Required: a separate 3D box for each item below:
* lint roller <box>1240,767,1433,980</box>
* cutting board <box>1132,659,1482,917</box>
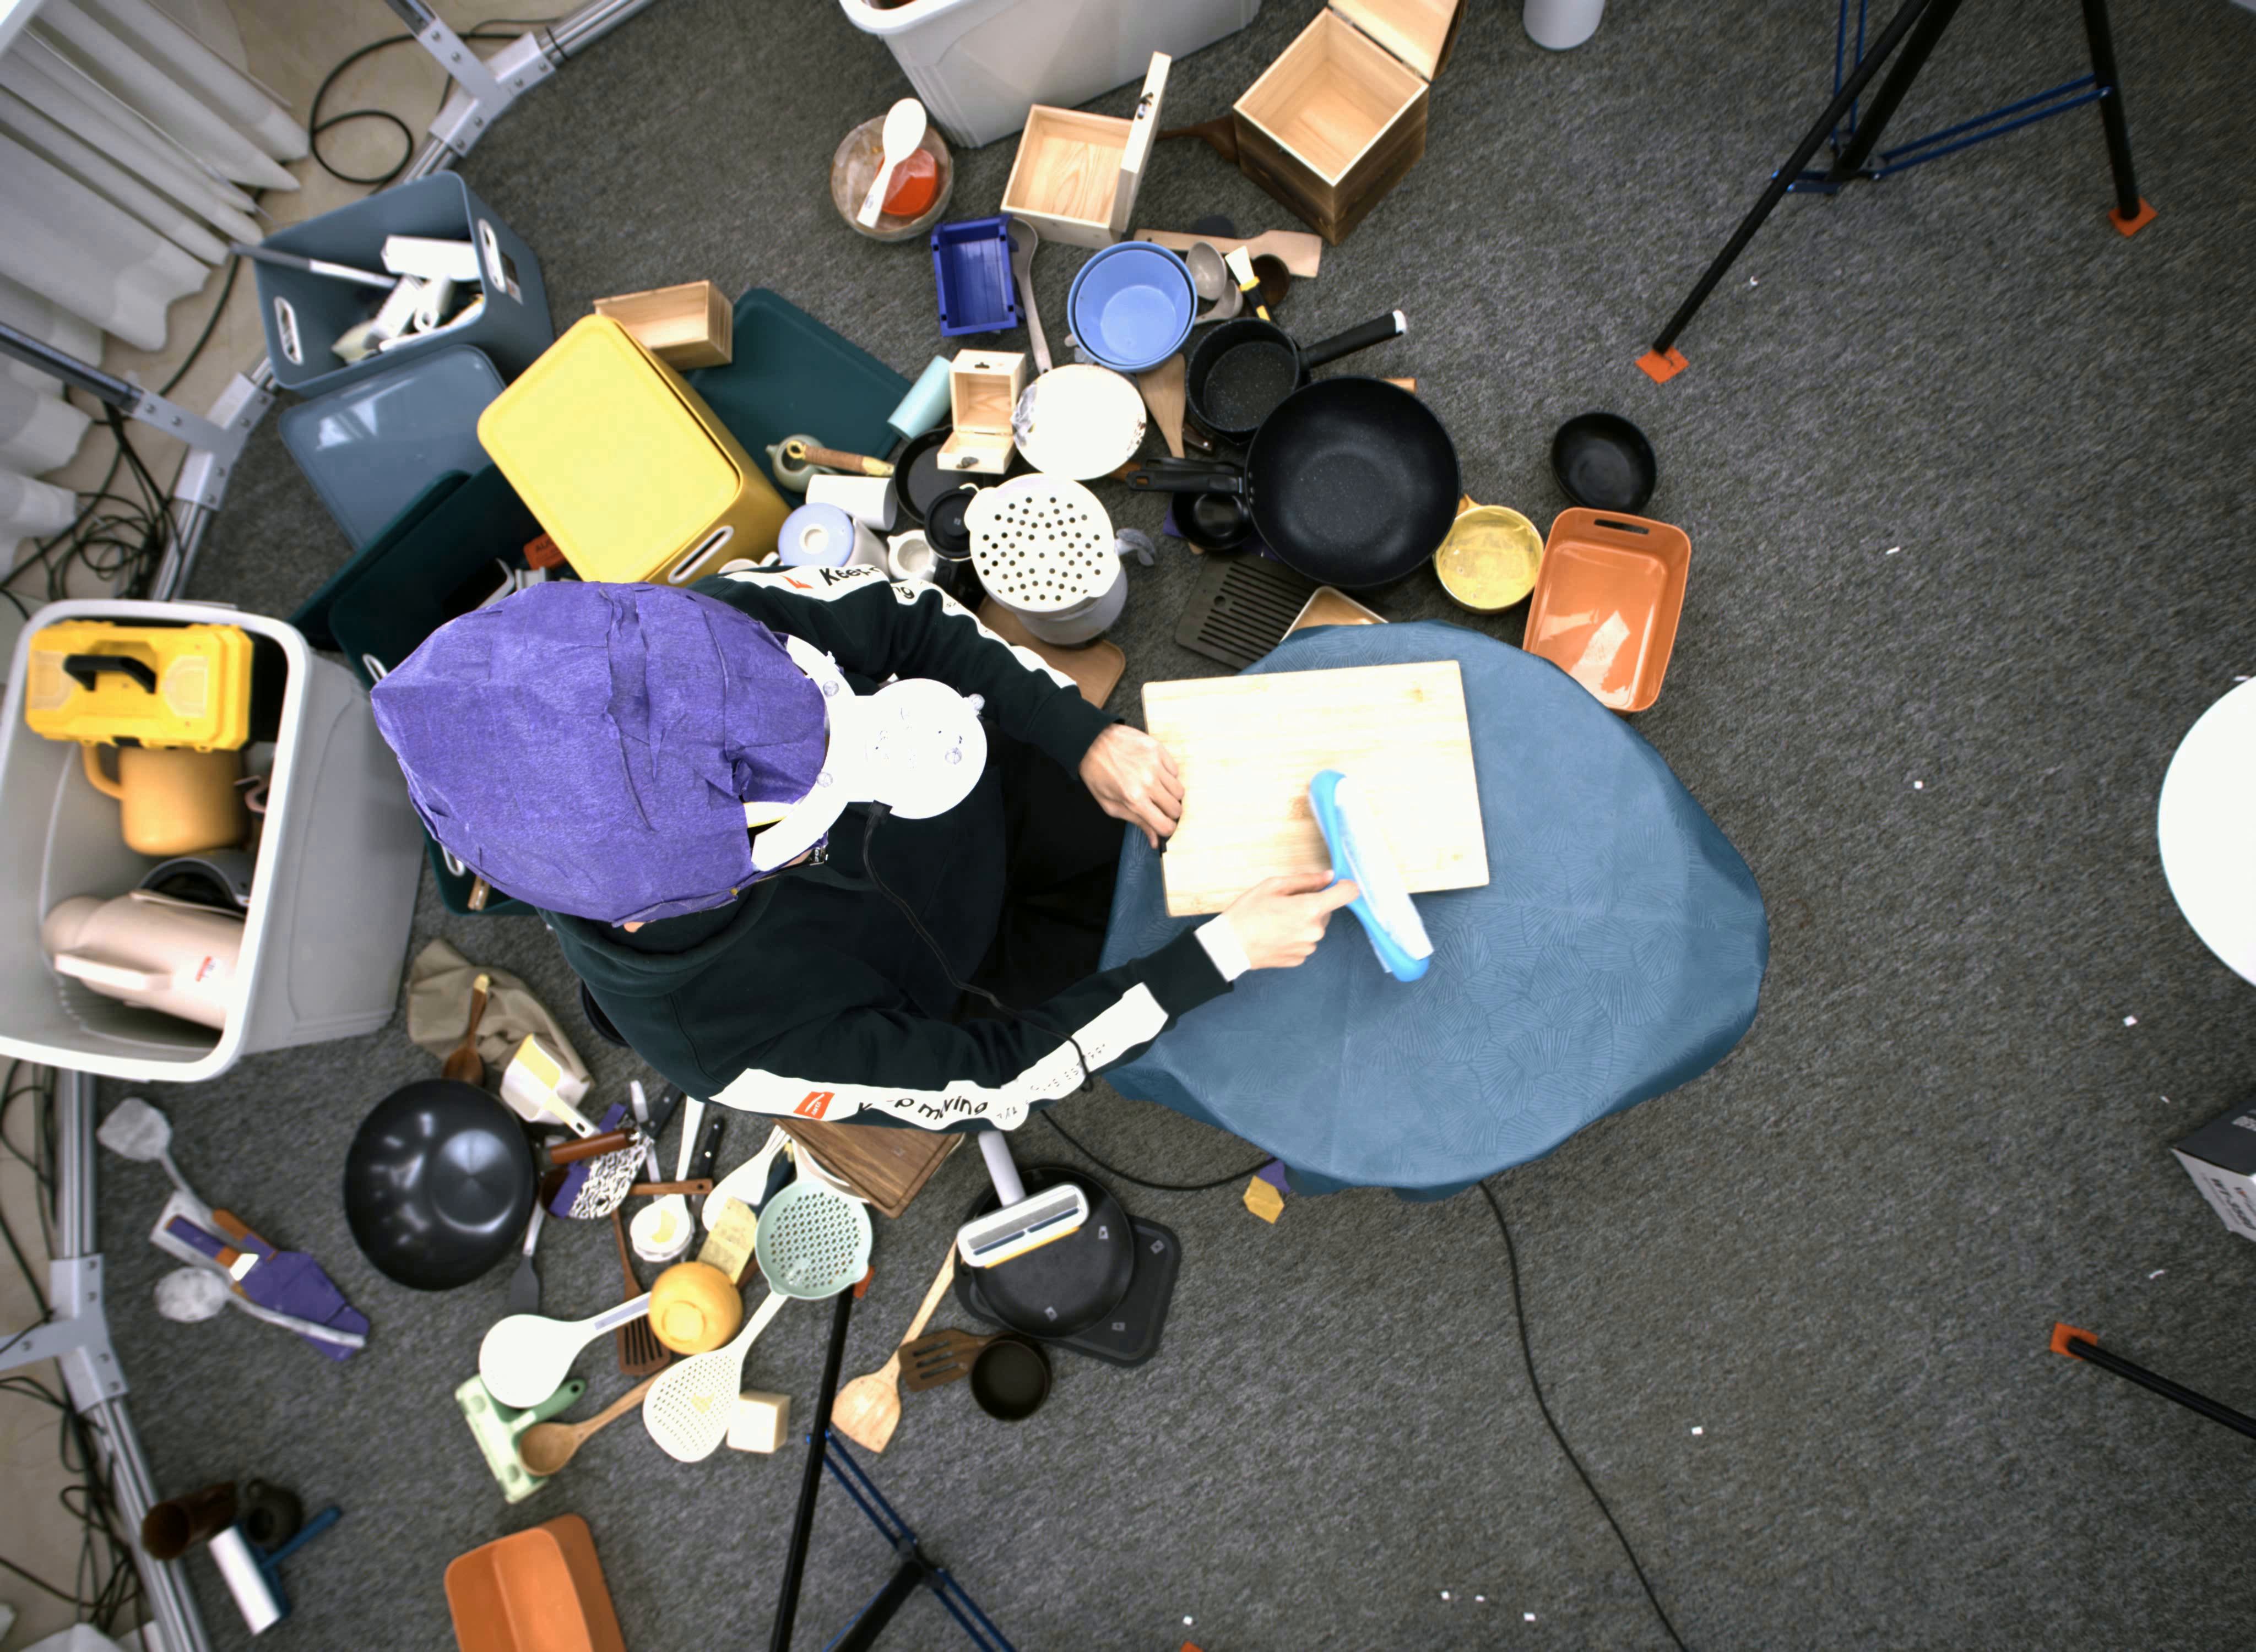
[{"bbox_3d":[0.194,0.067,1.348,0.177,0.069,0.229,-27,91,-30],"label":"lint roller"},{"bbox_3d":[0.188,-0.043,1.415,0.348,0.024,0.249,-6,86,-8],"label":"cutting board"}]
